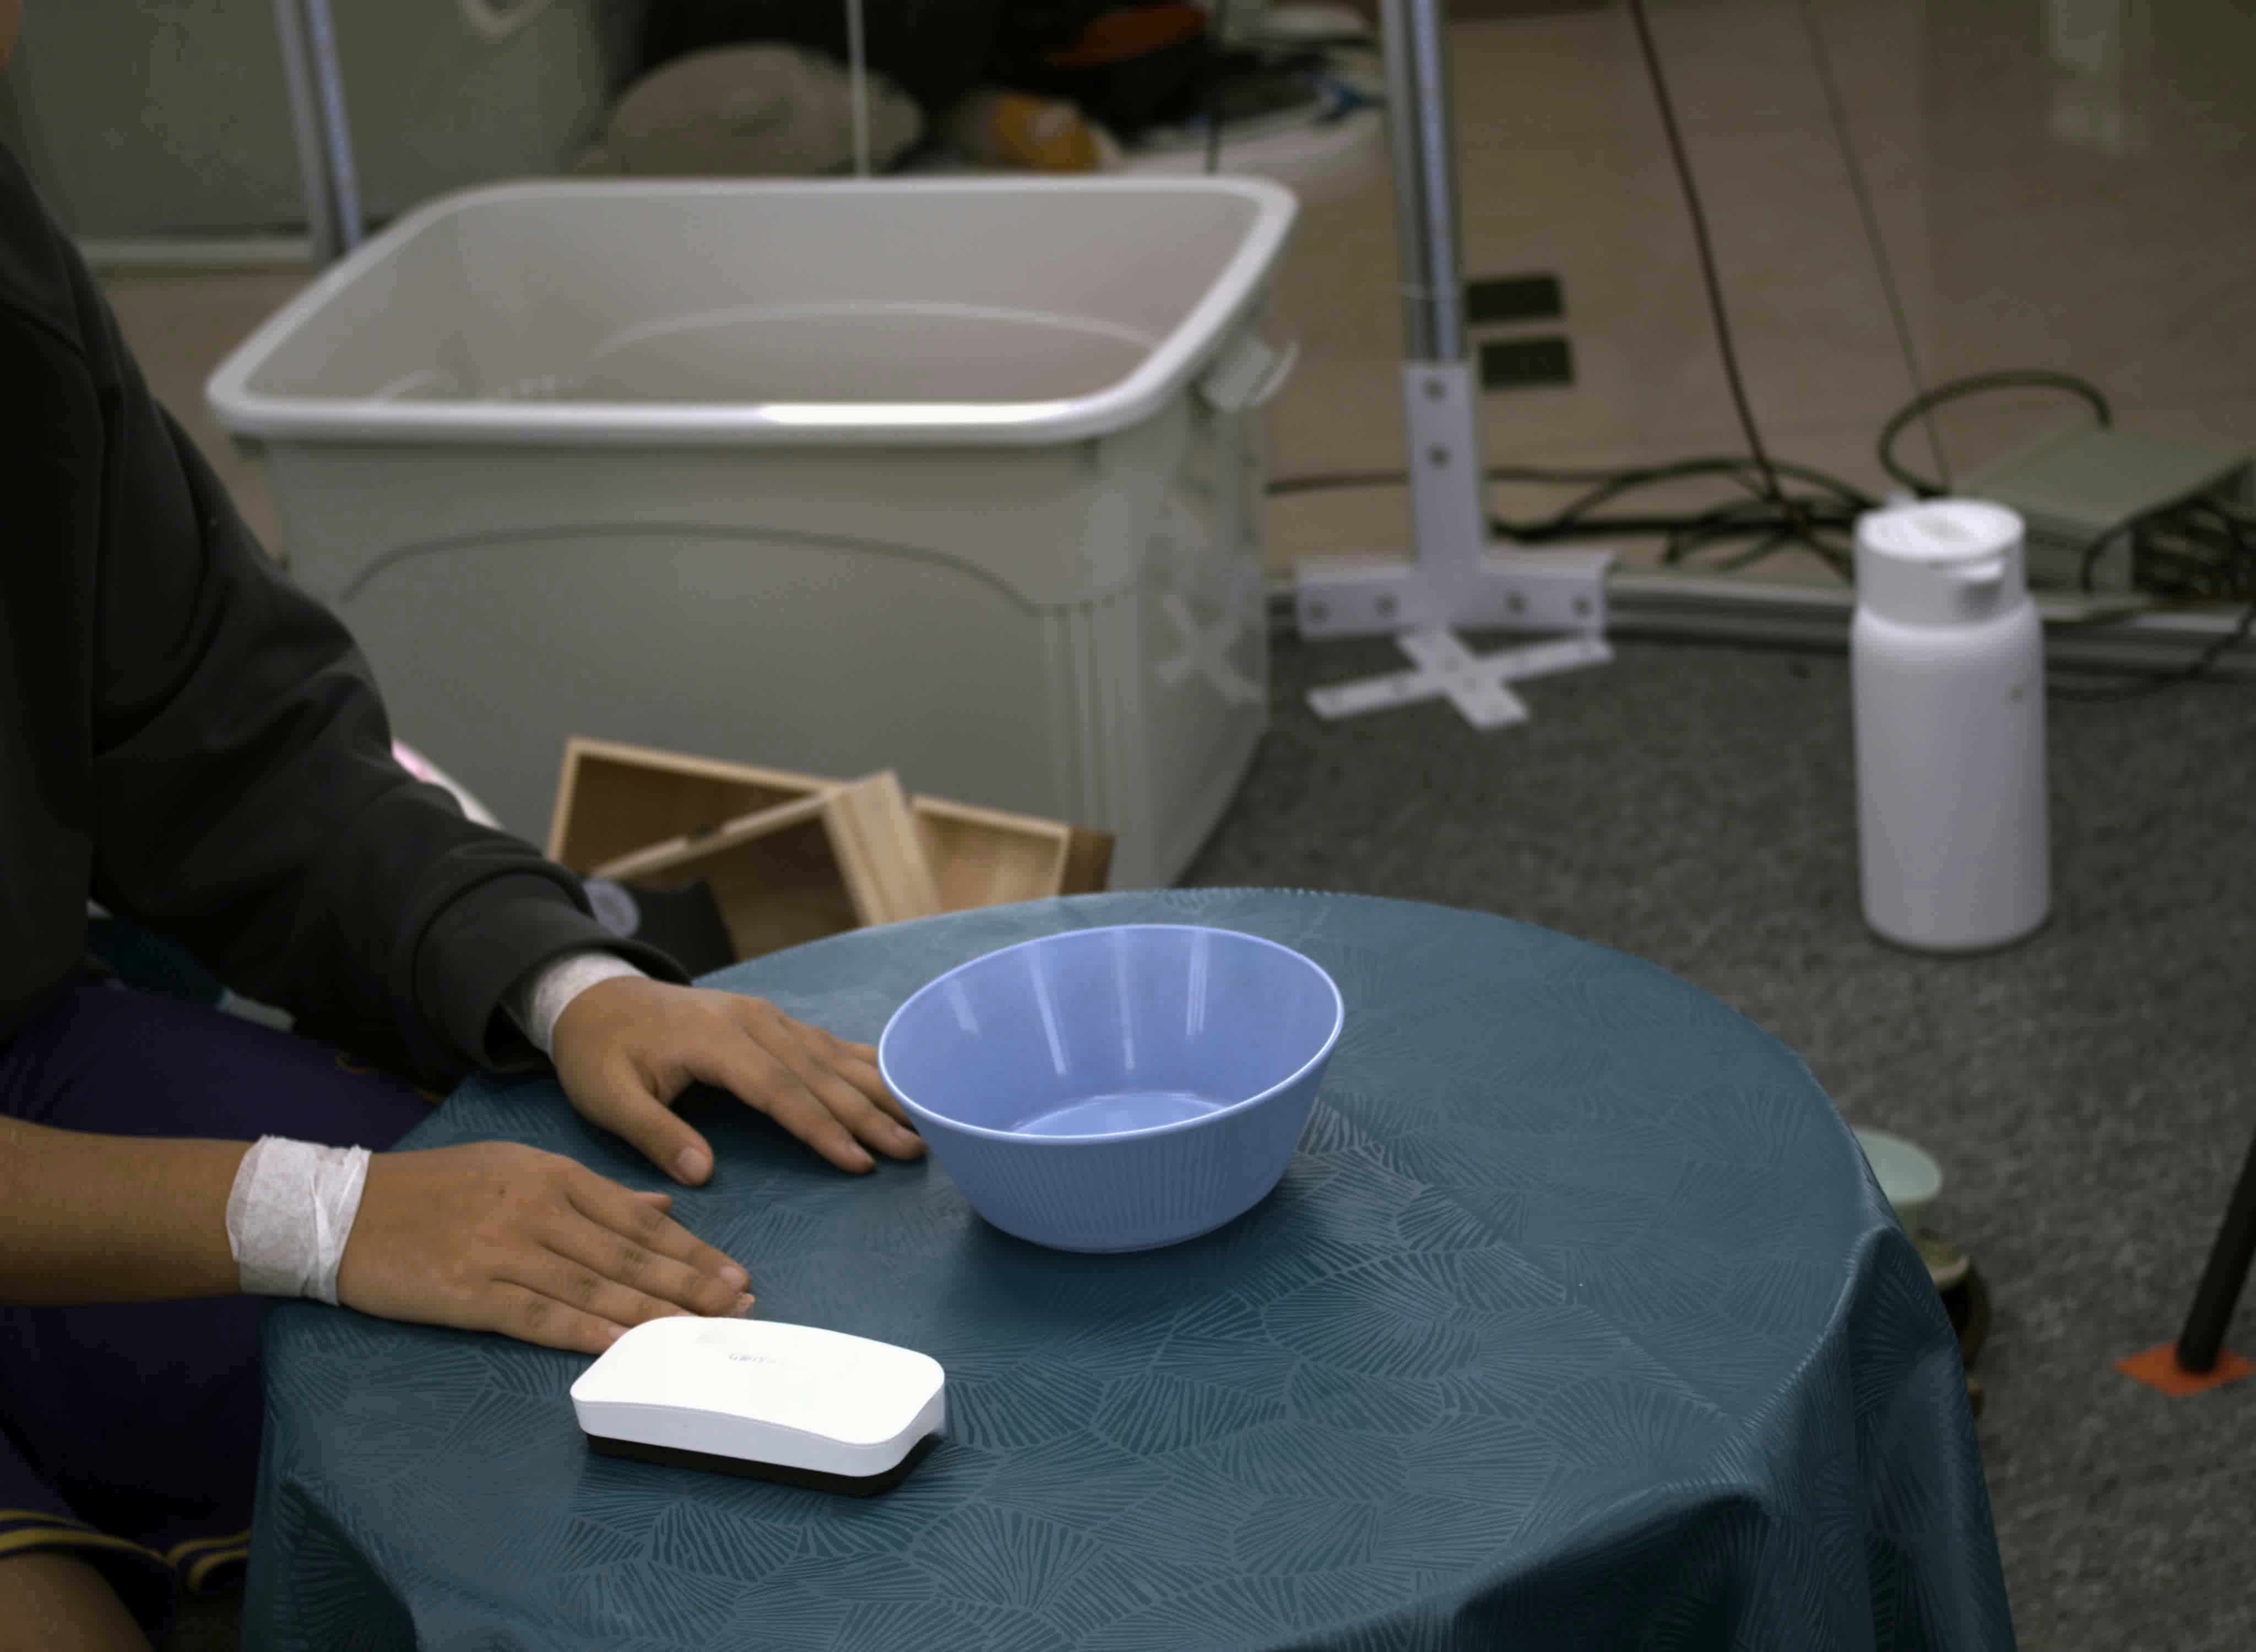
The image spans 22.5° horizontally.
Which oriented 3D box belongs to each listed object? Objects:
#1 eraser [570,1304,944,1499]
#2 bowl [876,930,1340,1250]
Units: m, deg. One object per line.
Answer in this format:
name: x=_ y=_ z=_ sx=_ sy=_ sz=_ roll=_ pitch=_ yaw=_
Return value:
eraser: x=-0.130 y=0.202 z=2.006 sx=0.131 sy=0.035 sz=0.062 roll=9 pitch=28 yaw=26
bowl: x=-0.005 y=0.105 z=2.136 sx=0.176 sy=0.071 sz=0.173 roll=-5 pitch=24 yaw=2
